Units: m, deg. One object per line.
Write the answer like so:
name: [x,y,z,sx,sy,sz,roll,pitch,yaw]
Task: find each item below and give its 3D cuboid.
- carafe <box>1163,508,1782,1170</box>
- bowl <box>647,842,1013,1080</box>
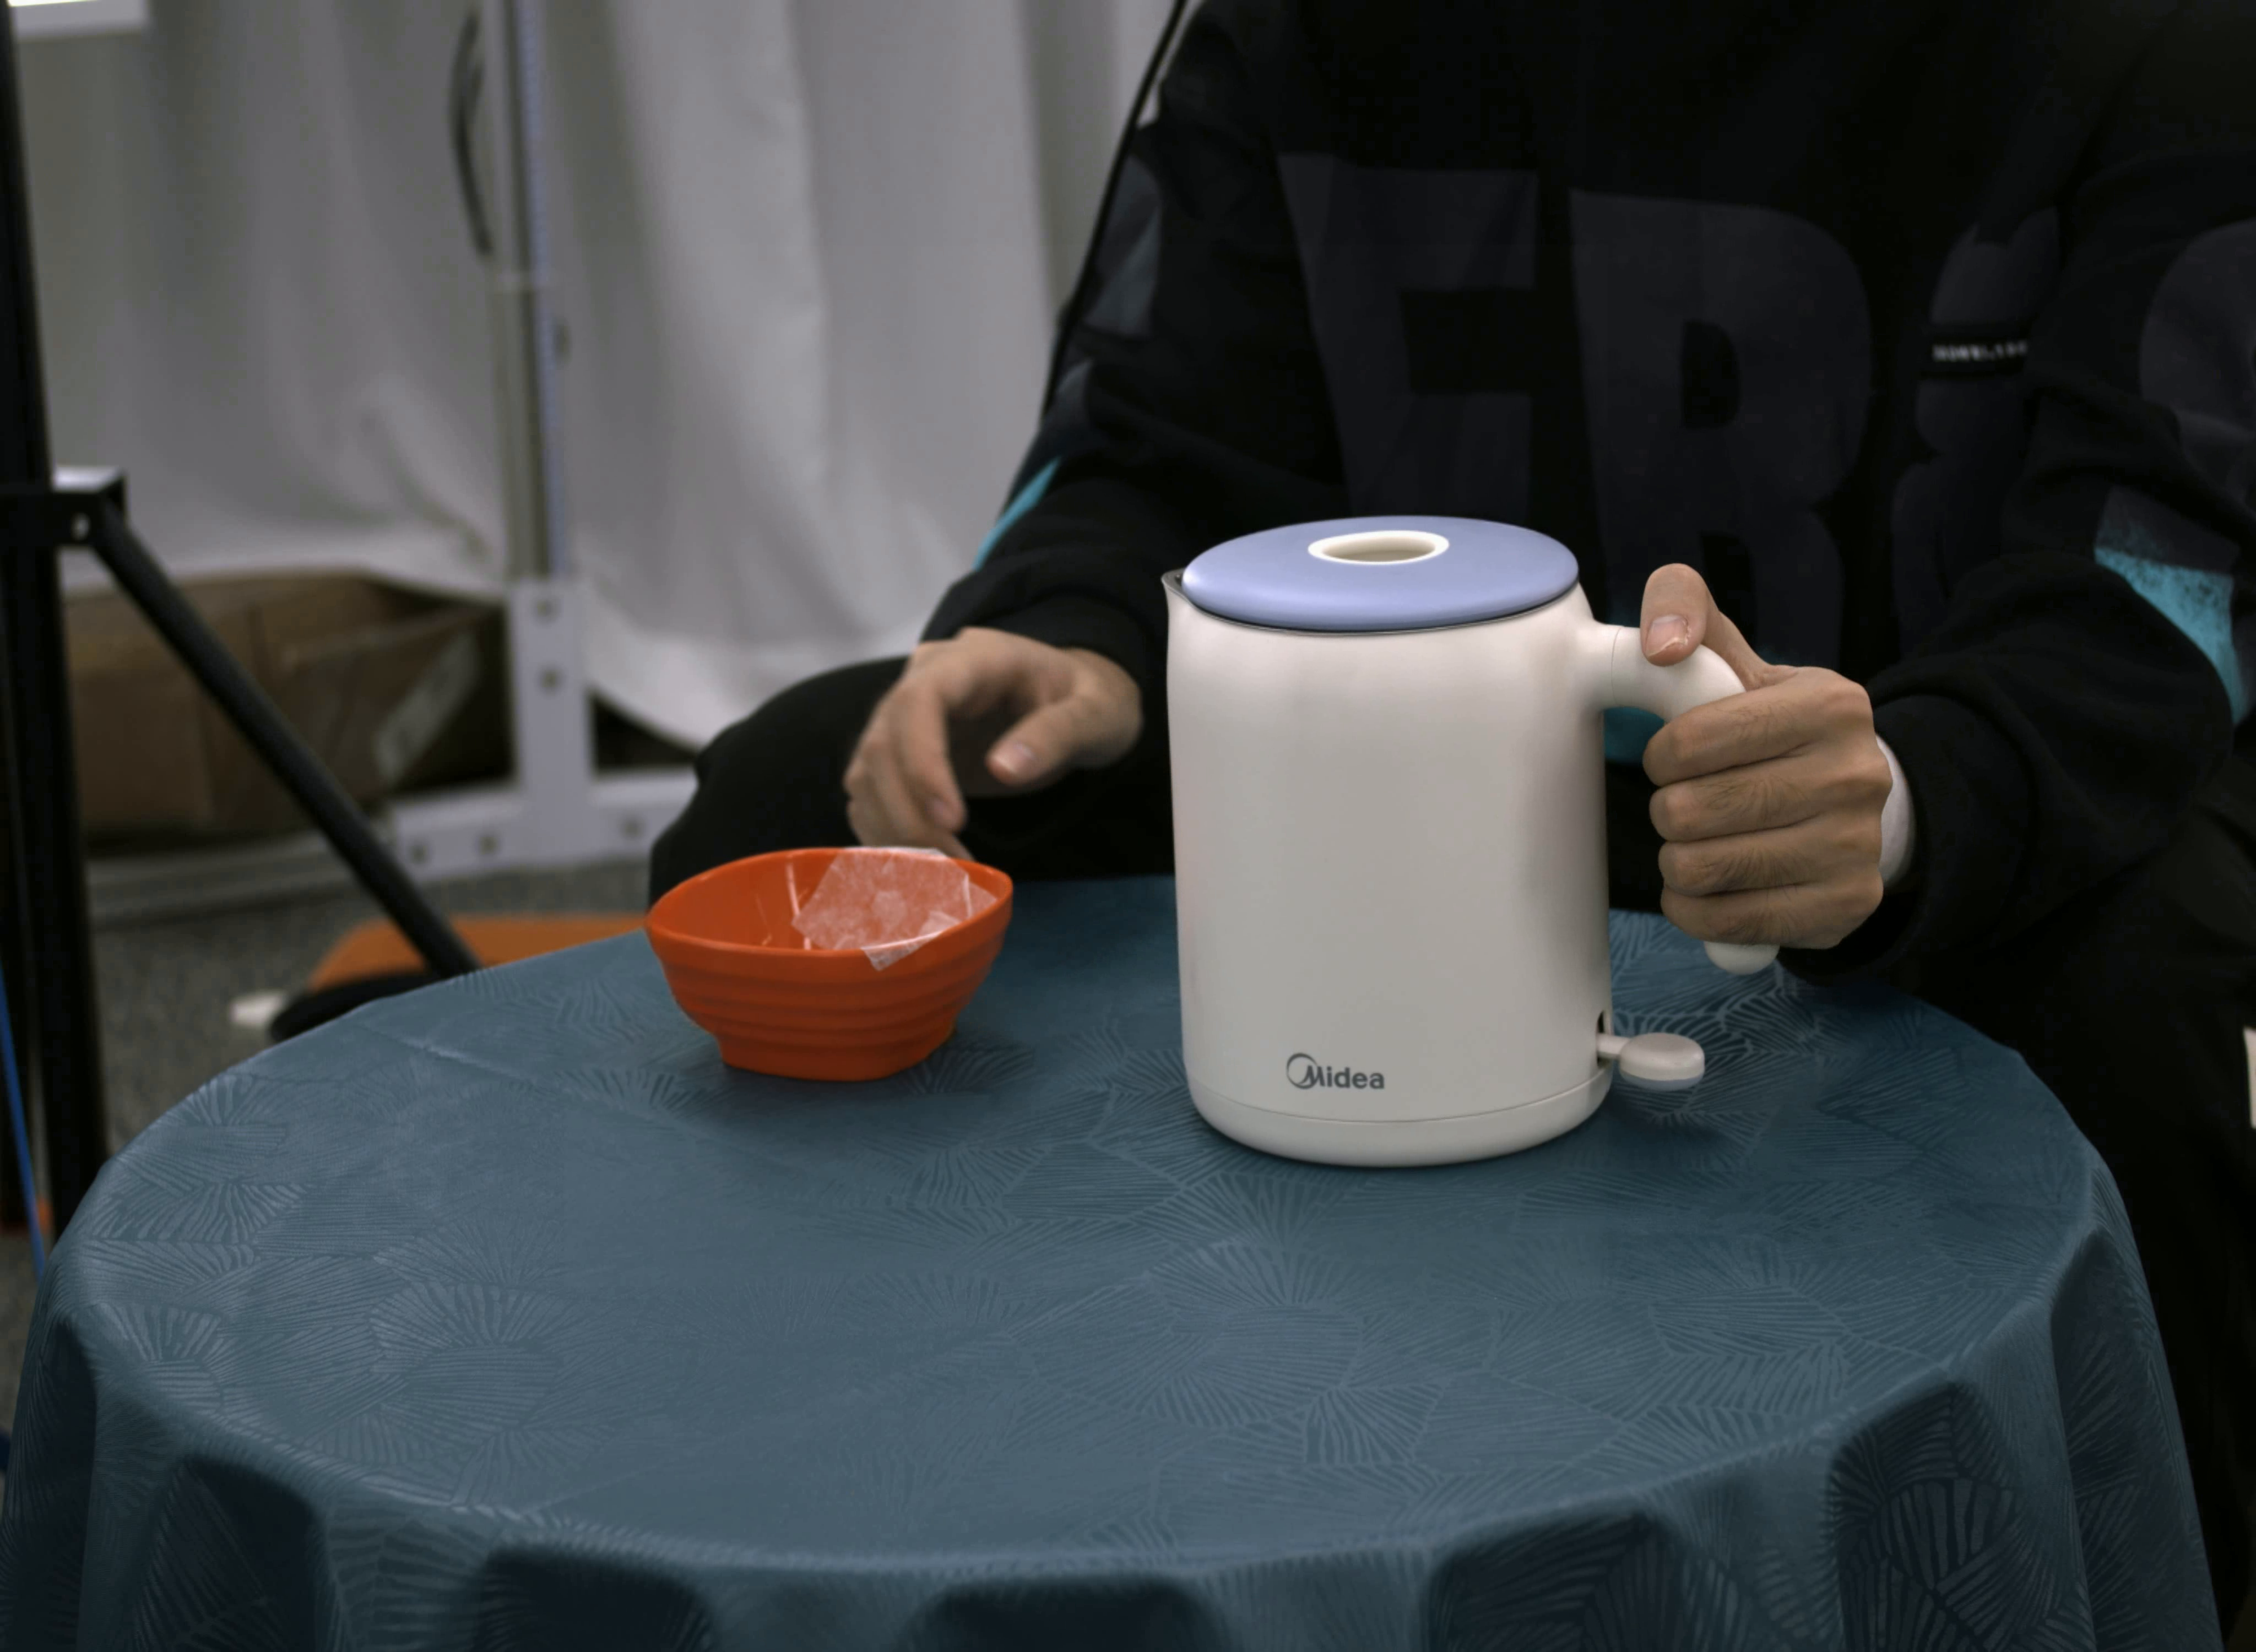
carafe: [0.102,0.005,1.592,0.193,0.182,0.131,5,18,18]
bowl: [-0.092,0.045,1.697,0.118,0.051,0.119,-5,17,0]
